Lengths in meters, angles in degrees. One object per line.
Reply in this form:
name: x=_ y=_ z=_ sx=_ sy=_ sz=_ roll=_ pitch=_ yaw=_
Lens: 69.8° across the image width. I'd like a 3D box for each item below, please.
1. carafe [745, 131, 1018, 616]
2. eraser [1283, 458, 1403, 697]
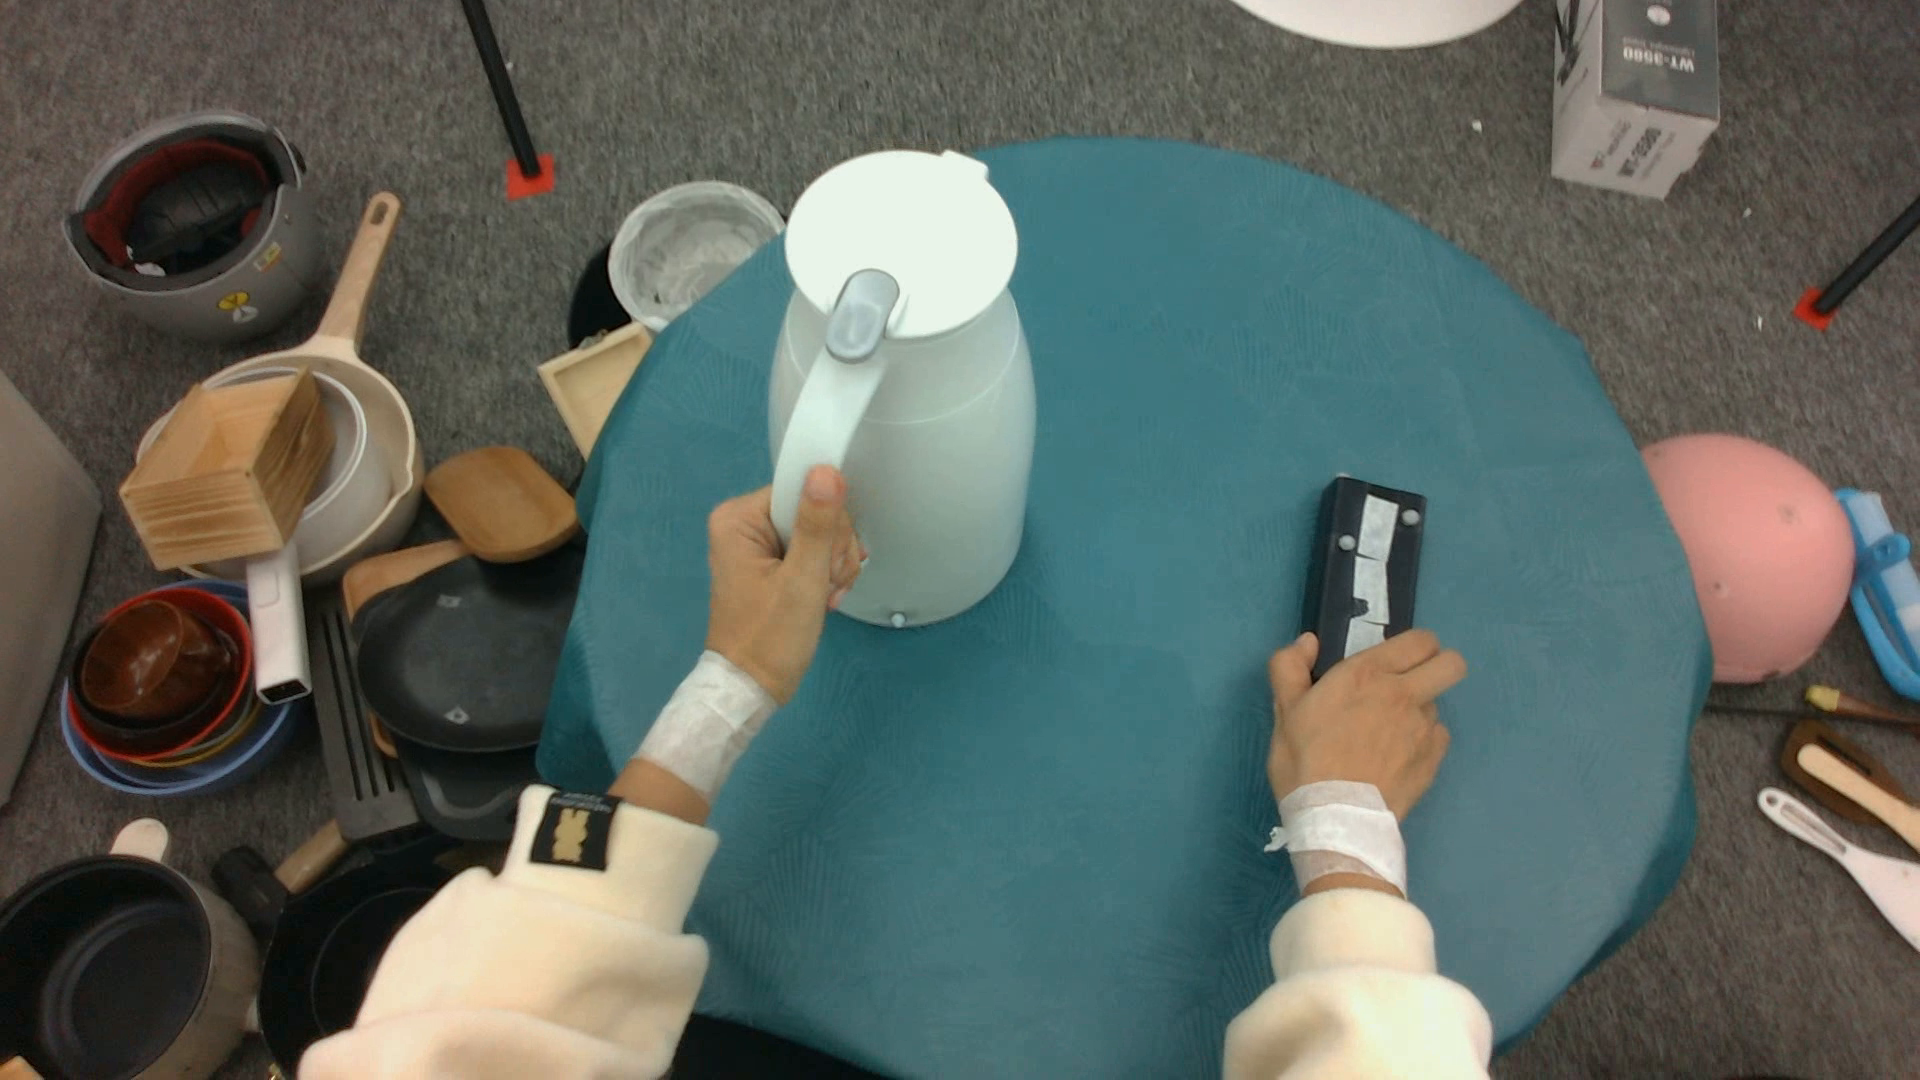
carafe: x=-0.042 y=-0.057 z=0.629 sx=0.132 sy=0.247 sz=0.168 roll=22 pitch=65 yaw=7
eraser: x=0.202 y=0.018 z=0.727 sx=0.053 sy=0.030 sz=0.126 roll=11 pitch=64 yaw=0
